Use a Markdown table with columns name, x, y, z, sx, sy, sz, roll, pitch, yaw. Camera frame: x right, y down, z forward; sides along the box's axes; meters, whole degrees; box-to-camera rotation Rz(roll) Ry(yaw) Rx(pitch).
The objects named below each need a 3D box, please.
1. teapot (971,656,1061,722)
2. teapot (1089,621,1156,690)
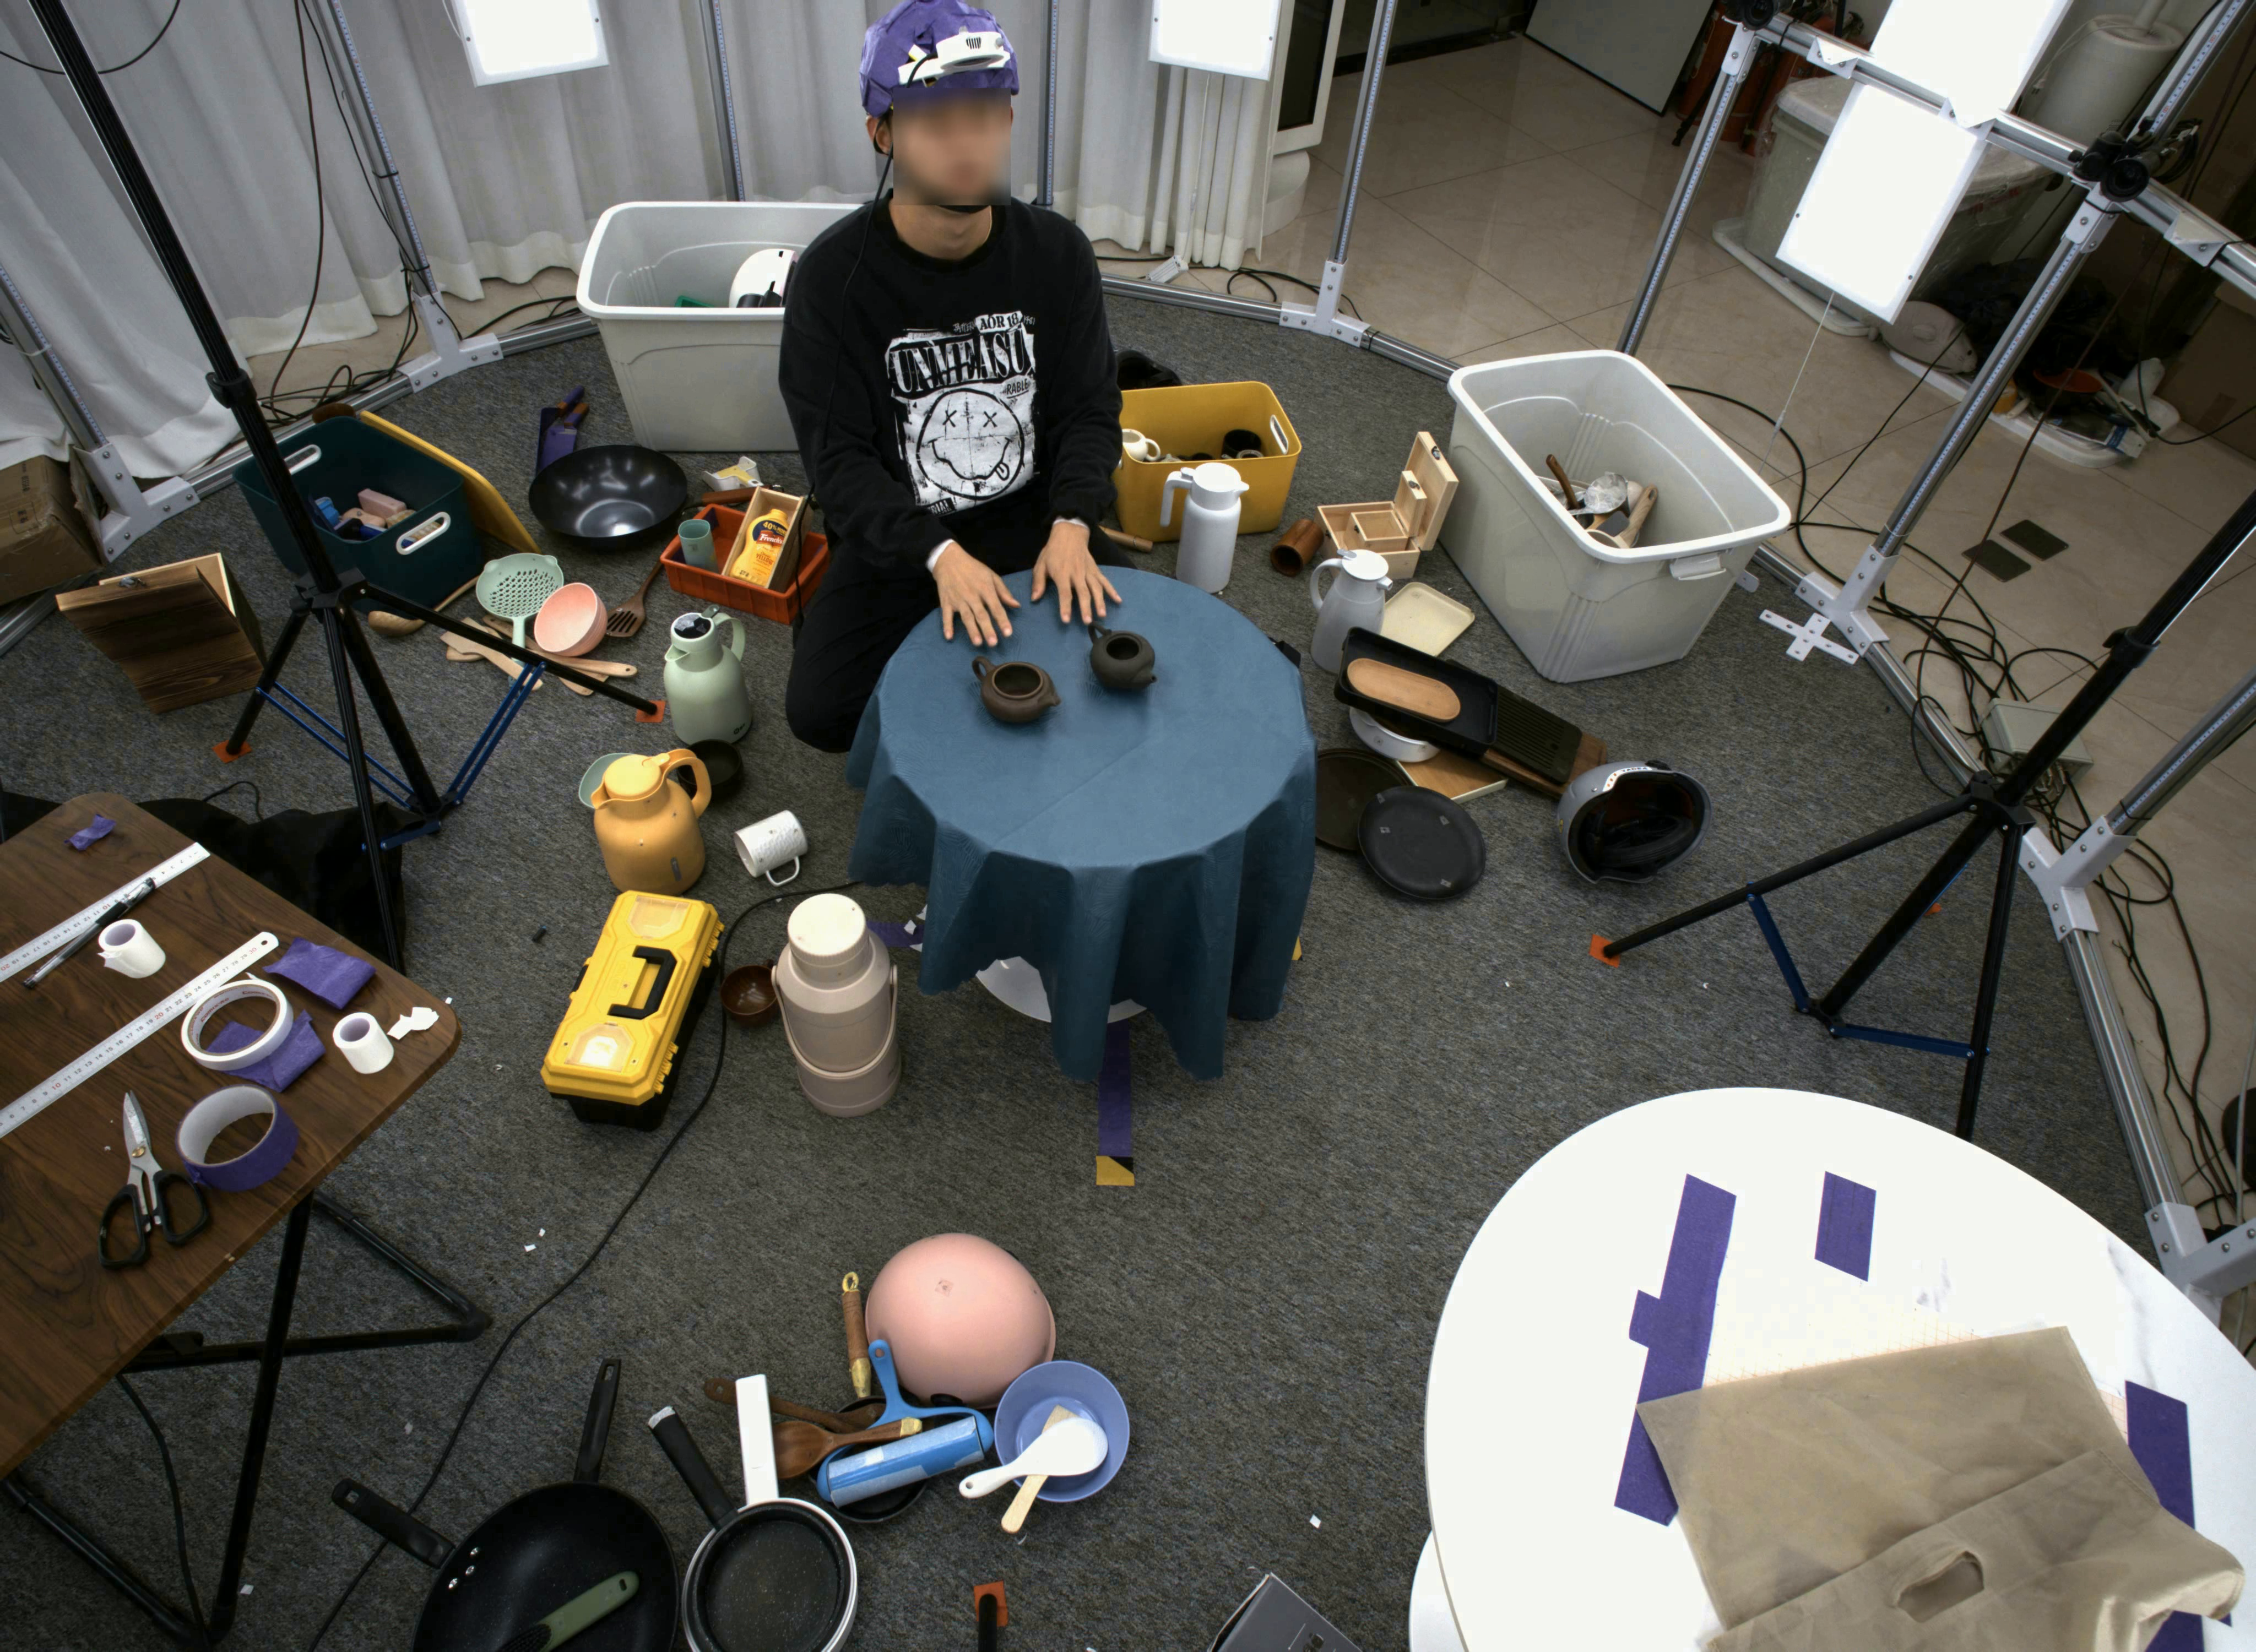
| name | x | y | z | sx | sy | sz | roll | pitch | yaw |
| --- | --- | --- | --- | --- | --- | --- | --- | --- | --- |
| teapot | -0.157 | -0.191 | 1.789 | 0.155 | 0.052 | 0.104 | 28 | 50 | 19 |
| teapot | -0.010 | -0.240 | 1.835 | 0.093 | 0.063 | 0.157 | -26 | 56 | -25 |
